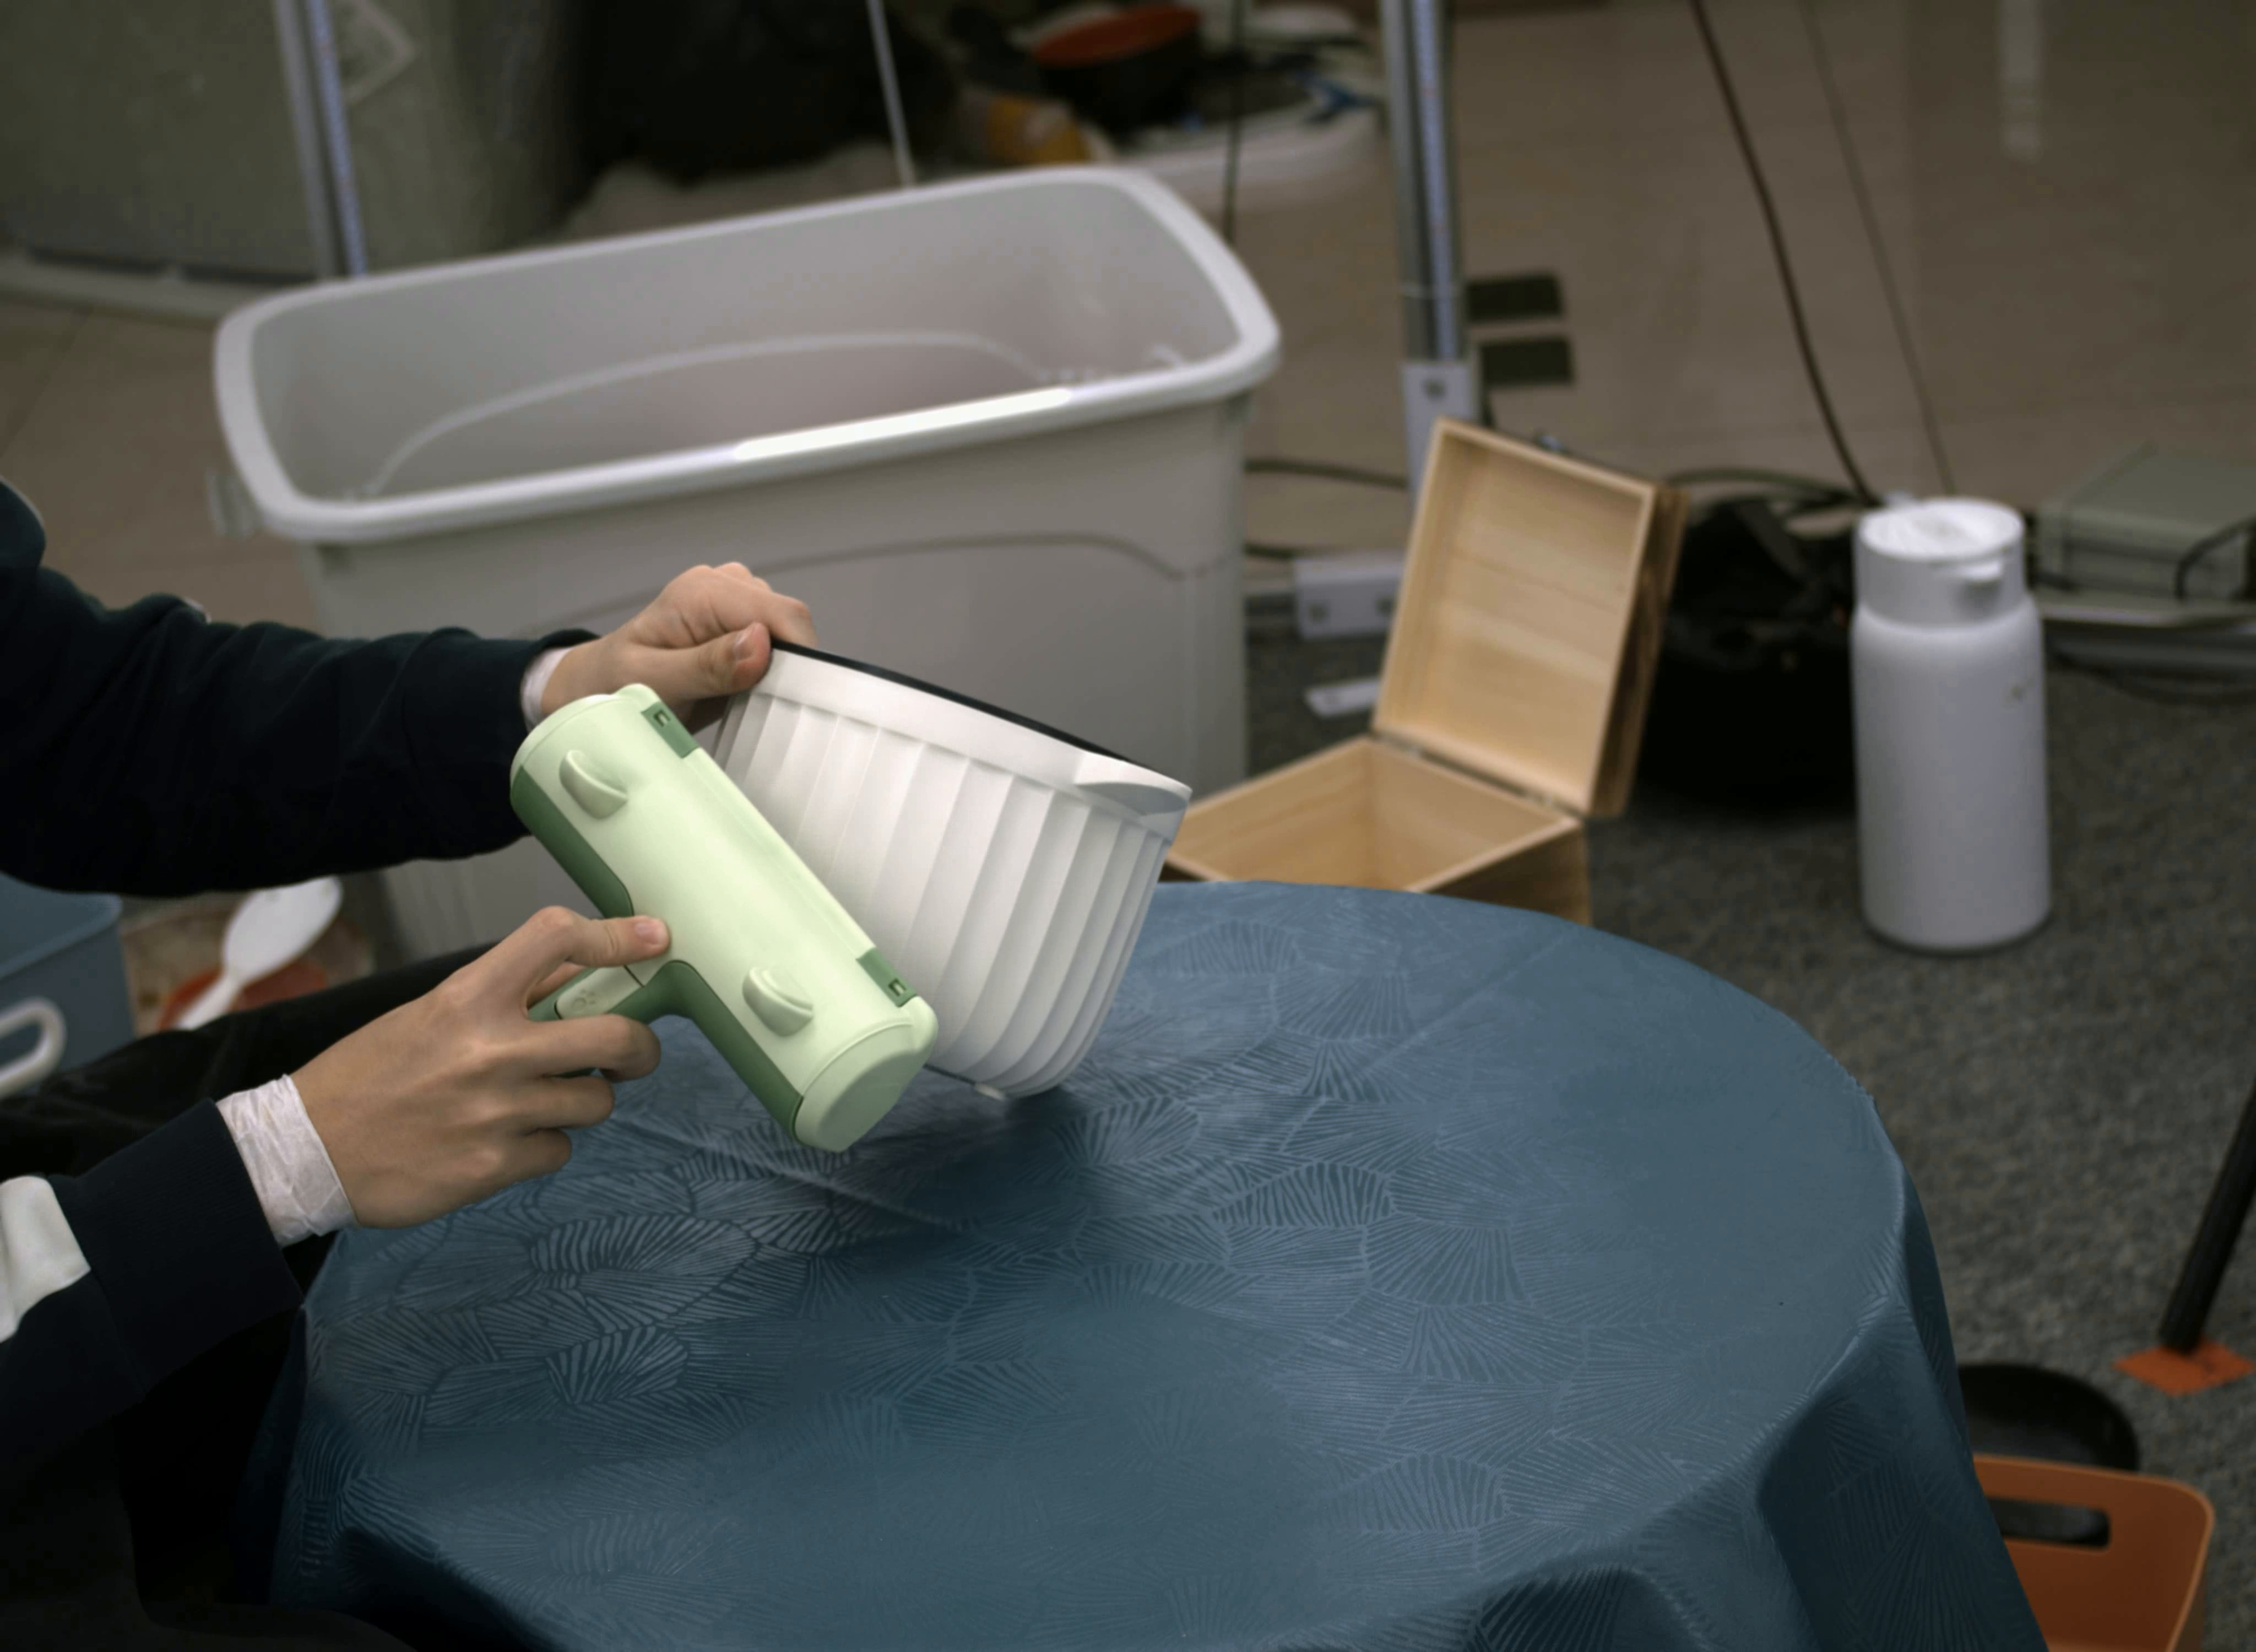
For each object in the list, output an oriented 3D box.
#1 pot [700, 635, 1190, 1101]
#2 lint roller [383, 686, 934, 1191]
[{"bbox_3d":[-0.081,0.022,2.171,0.238,0.143,0.191,17,-1,45],"label":"pot"},{"bbox_3d":[-0.196,0.061,2.038,0.182,0.083,0.196,-35,65,-14],"label":"lint roller"}]
